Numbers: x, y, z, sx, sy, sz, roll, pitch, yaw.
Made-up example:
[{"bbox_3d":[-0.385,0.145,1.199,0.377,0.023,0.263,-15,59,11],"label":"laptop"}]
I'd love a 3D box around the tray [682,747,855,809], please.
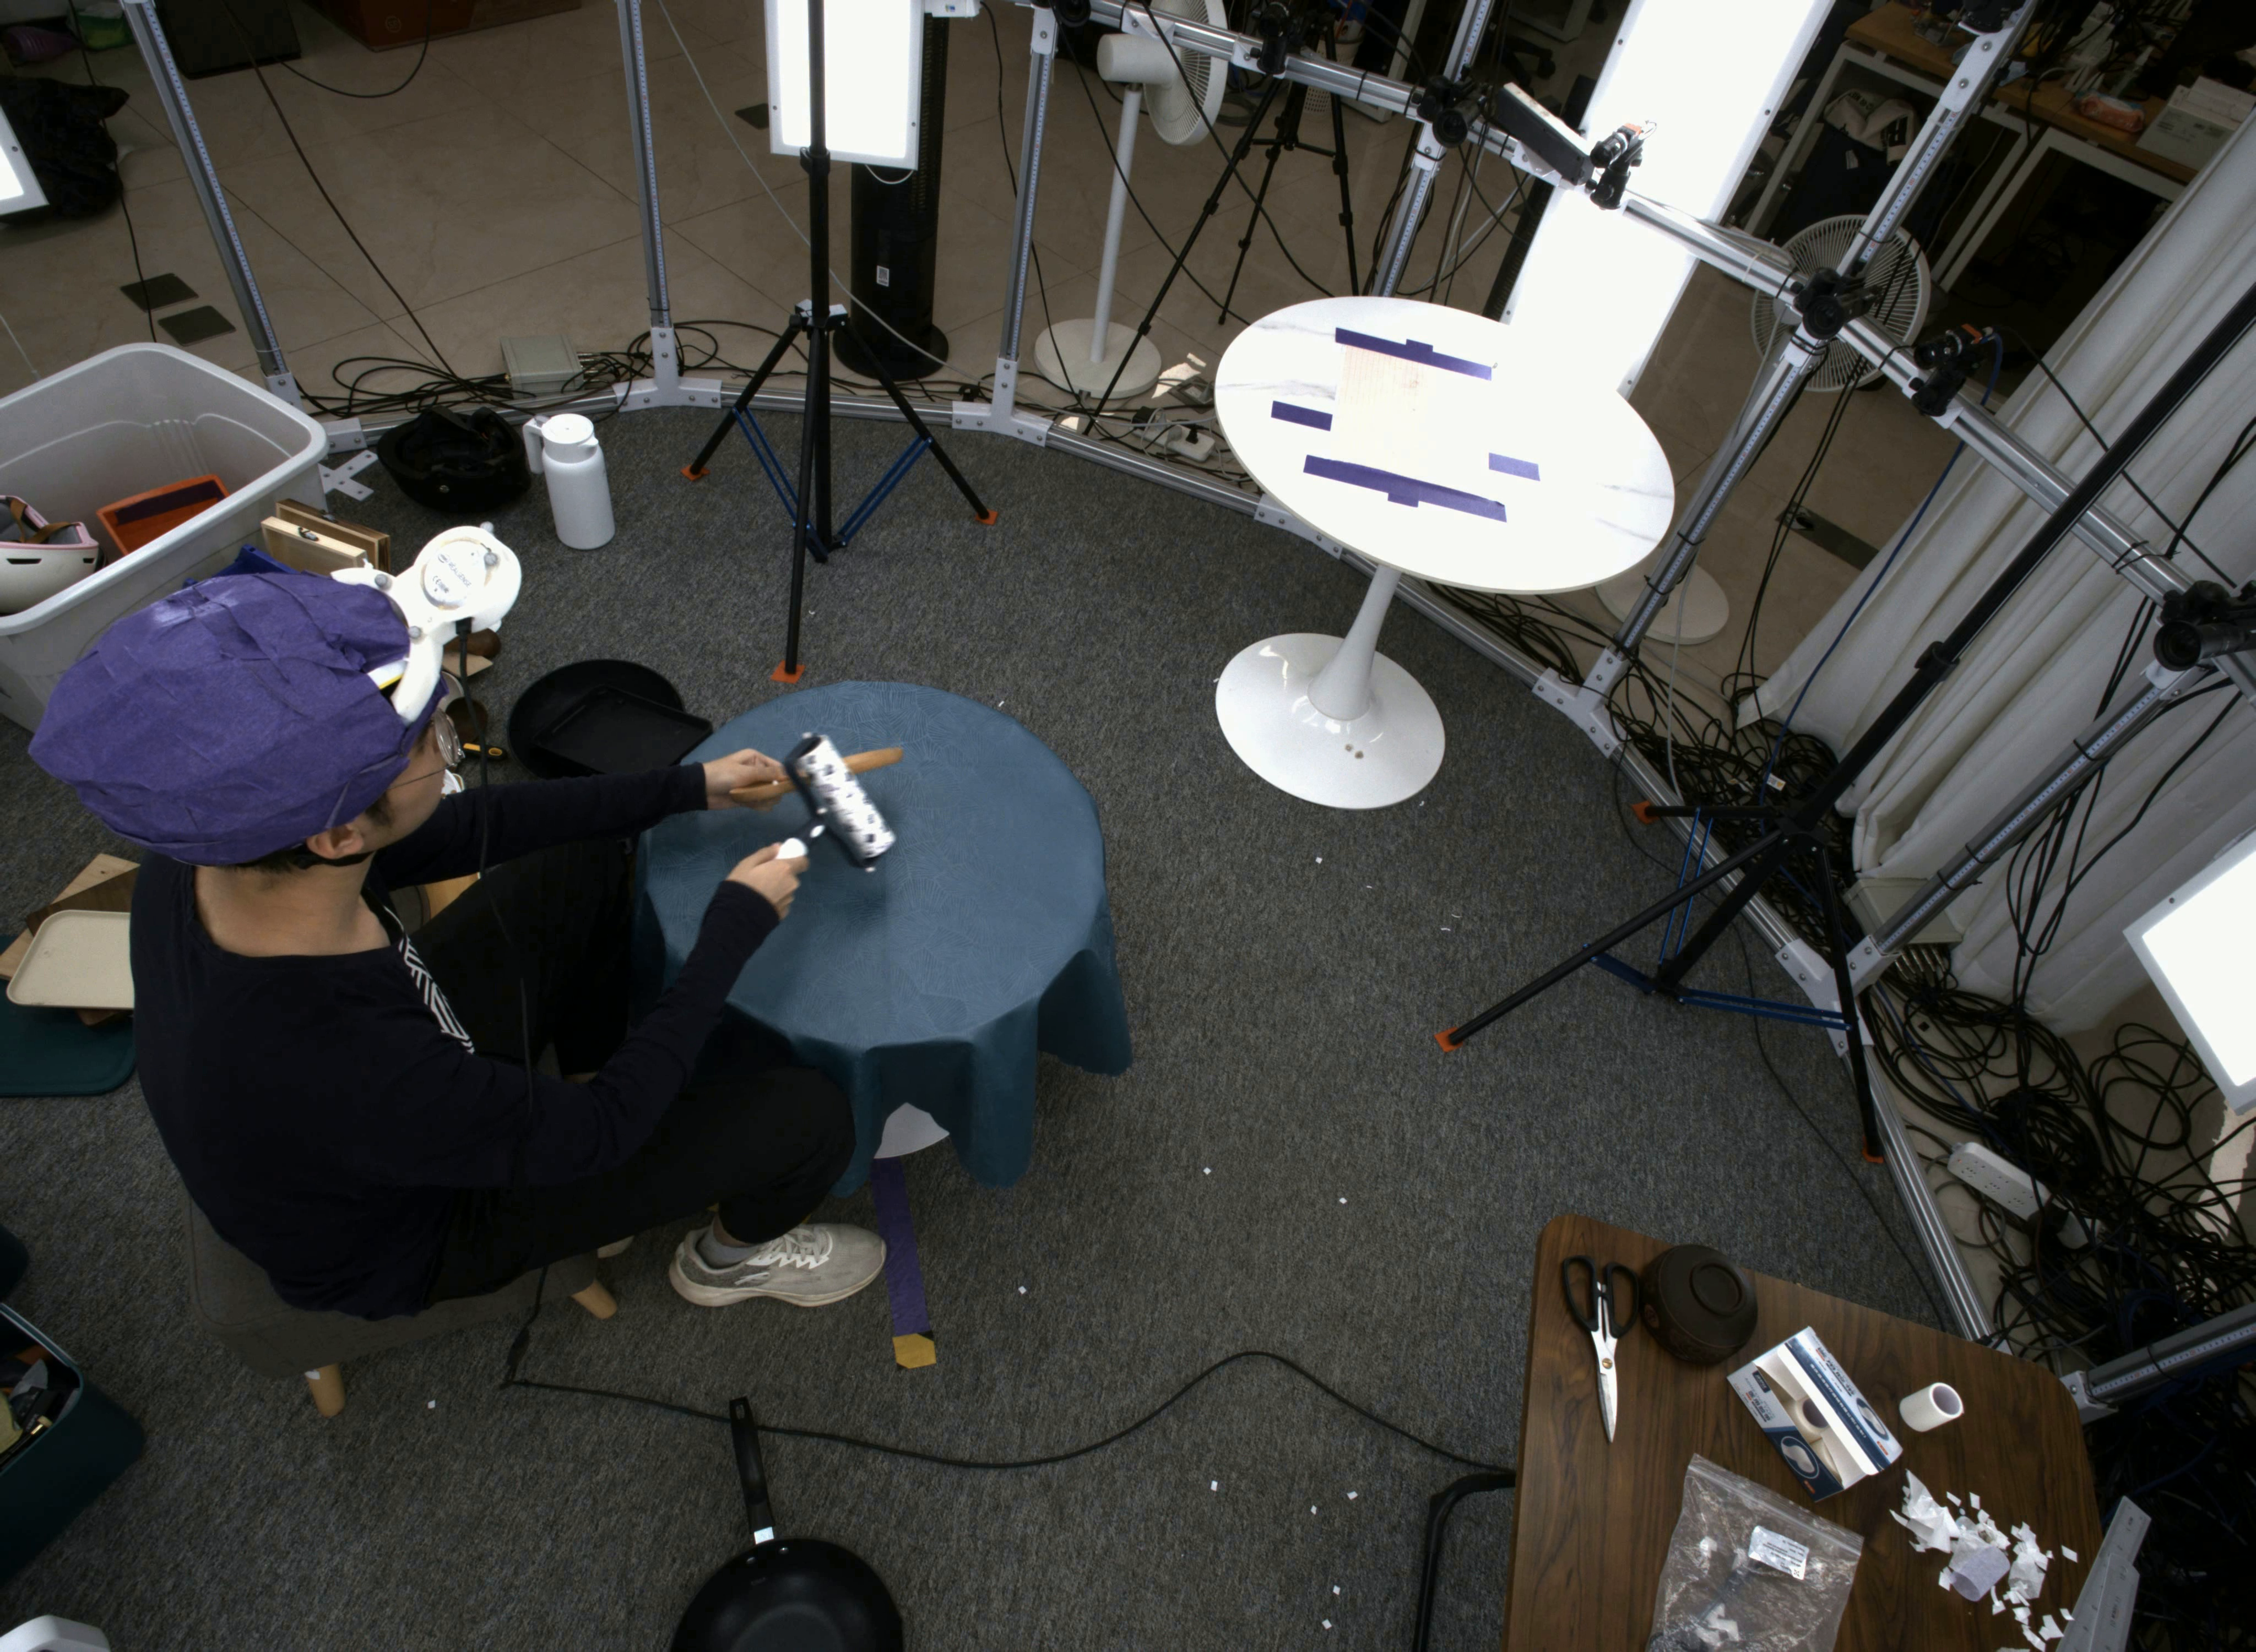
[{"bbox_3d":[-0.454,-0.063,1.646,0.233,0.098,0.021,-20,105,-36],"label":"tray"}]

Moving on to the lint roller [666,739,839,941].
[{"bbox_3d":[-0.459,0.040,1.530,0.049,0.183,0.245,-2,42,37],"label":"lint roller"}]
